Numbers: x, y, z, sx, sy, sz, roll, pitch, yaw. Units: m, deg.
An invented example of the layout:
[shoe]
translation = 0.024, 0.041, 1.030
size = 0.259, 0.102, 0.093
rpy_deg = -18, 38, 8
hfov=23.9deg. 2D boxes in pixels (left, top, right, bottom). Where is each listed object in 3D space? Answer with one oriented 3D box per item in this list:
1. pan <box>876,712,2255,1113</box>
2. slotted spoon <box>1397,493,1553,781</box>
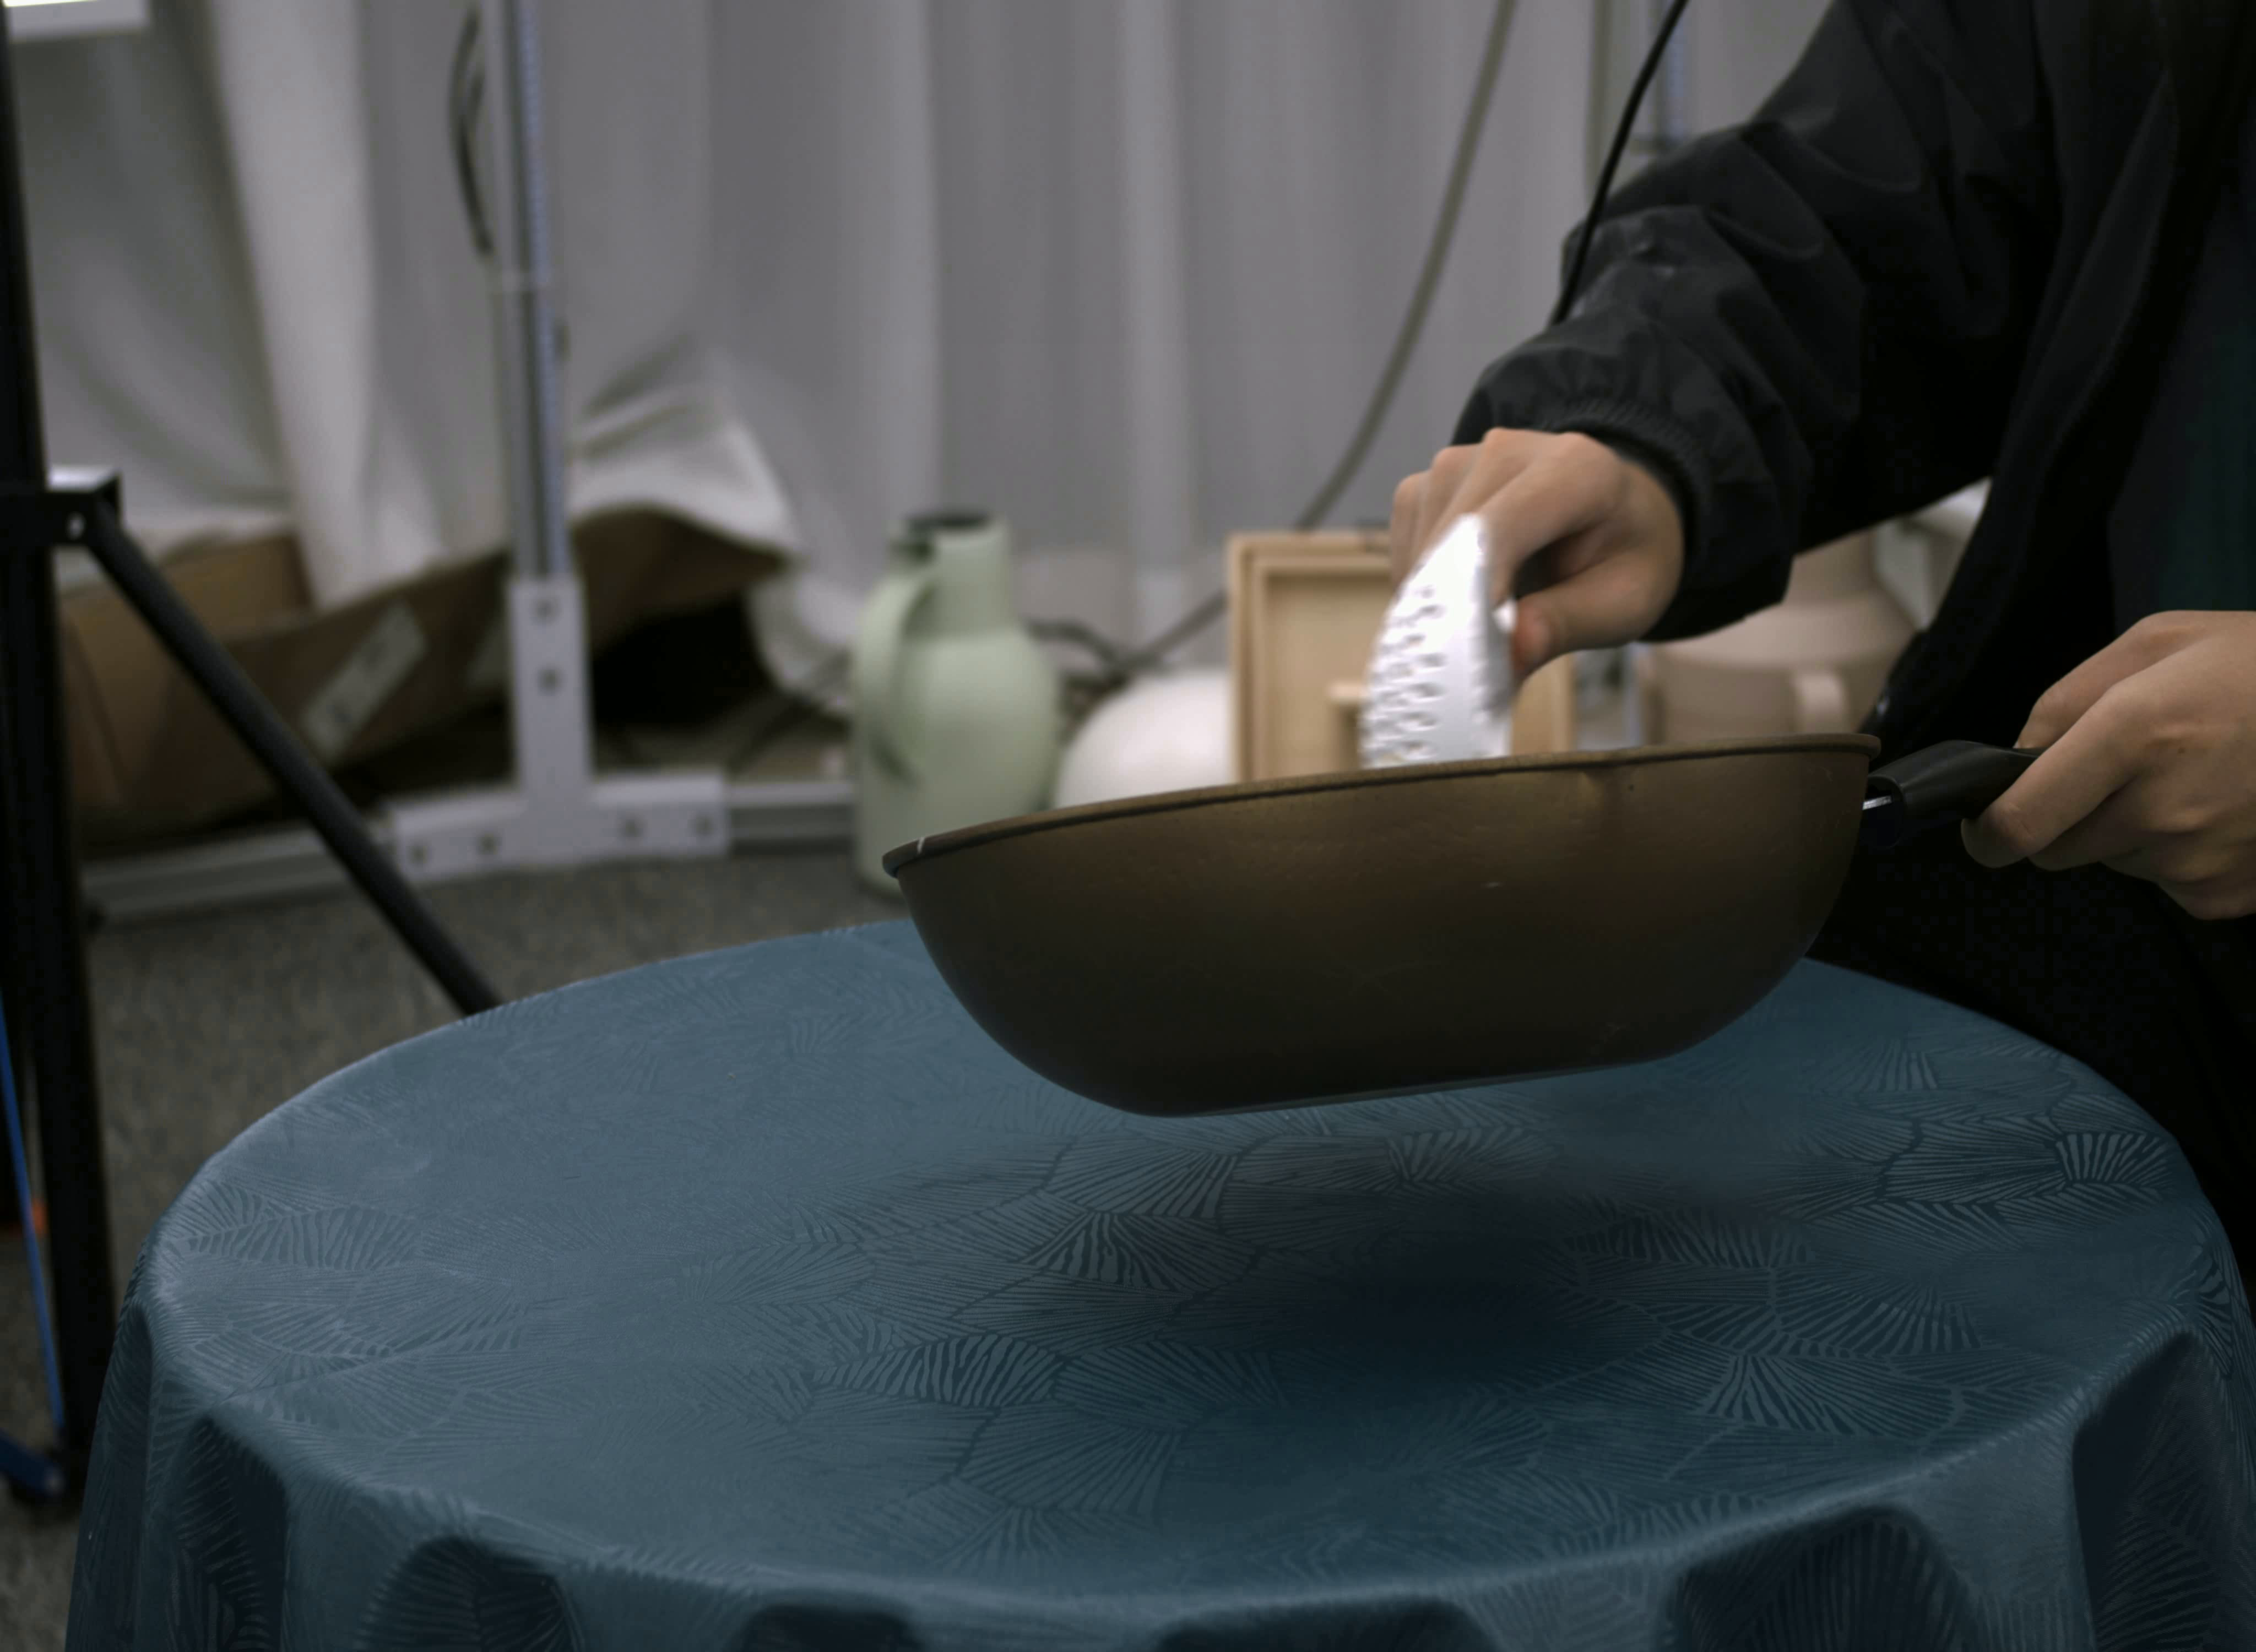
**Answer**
[pan]
translation = 0.156, 0.025, 1.497
size = 0.454, 0.087, 0.292
rpy_deg = -4, -5, -20
[slotted spoon]
translation = 0.105, -0.046, 1.587
size = 0.050, 0.137, 0.347
rpy_deg = -7, 12, 7
